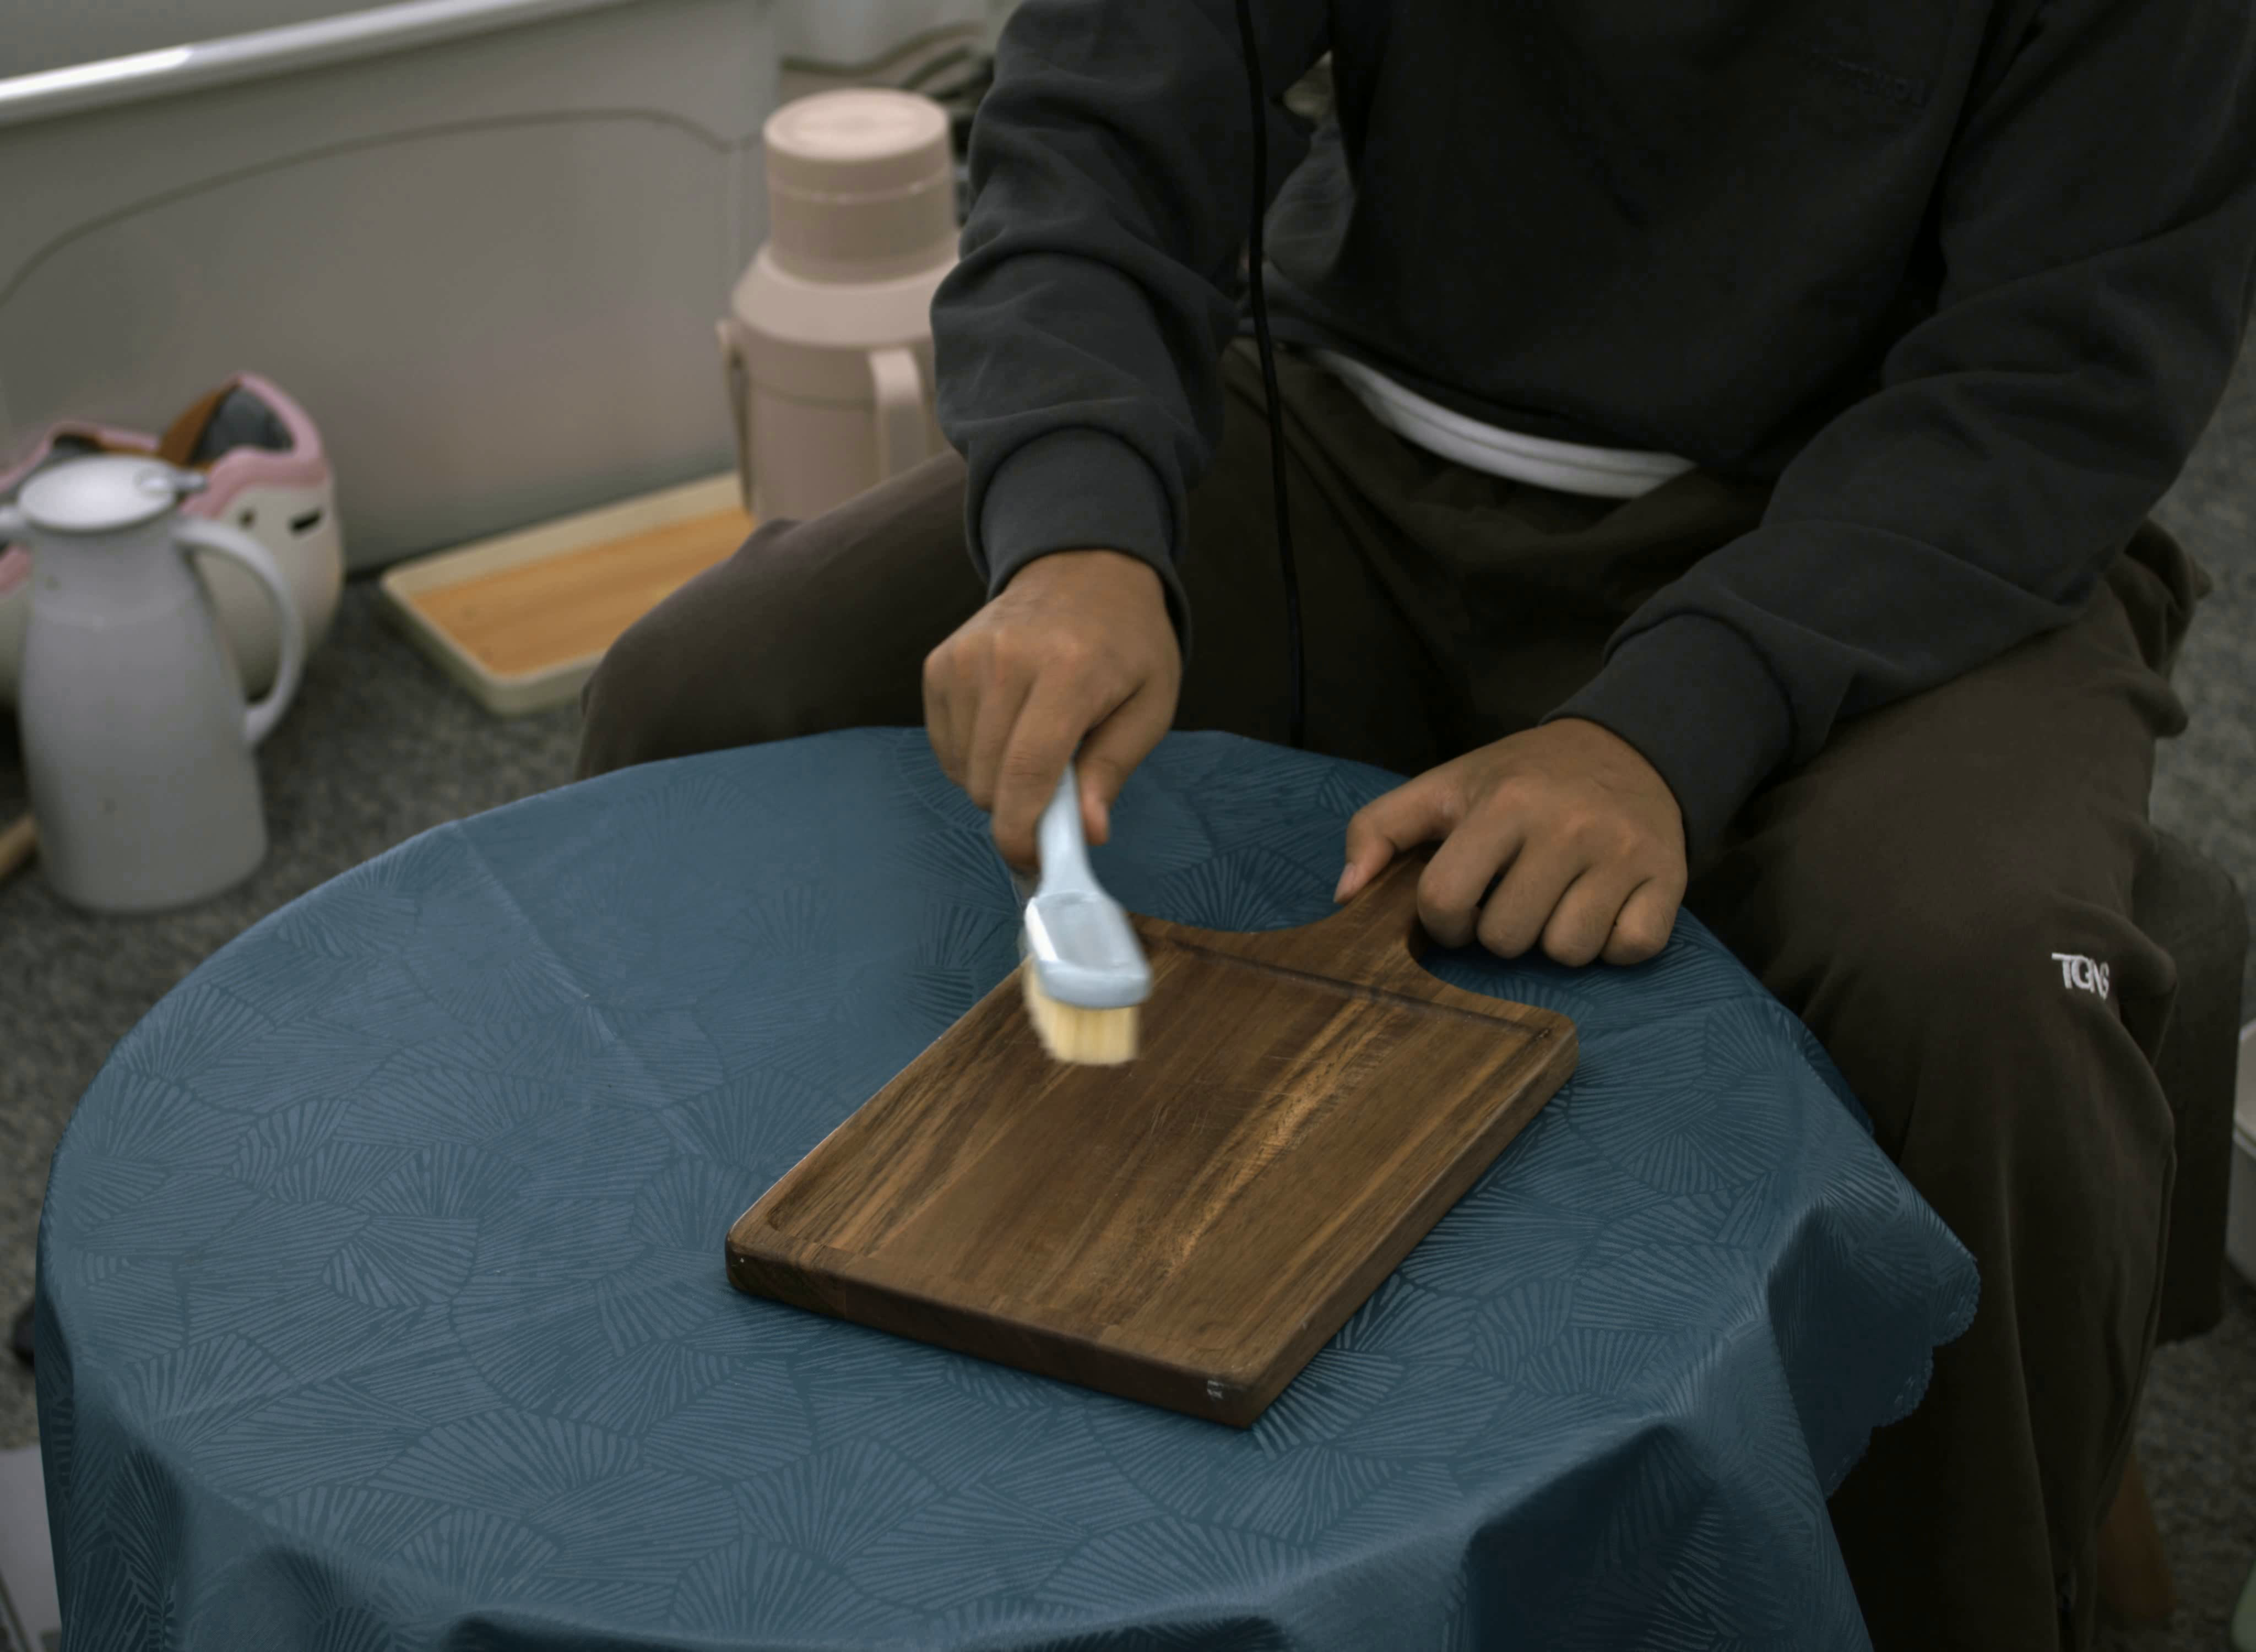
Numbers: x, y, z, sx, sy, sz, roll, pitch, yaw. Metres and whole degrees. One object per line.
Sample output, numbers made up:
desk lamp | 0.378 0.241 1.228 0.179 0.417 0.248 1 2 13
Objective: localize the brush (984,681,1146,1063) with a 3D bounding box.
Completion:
brush | -0.028 0.013 1.919 0.038 0.049 0.232 1 30 -10

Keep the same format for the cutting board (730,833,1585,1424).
cutting board | 0.038 0.086 1.907 0.200 0.023 0.358 13 31 26
